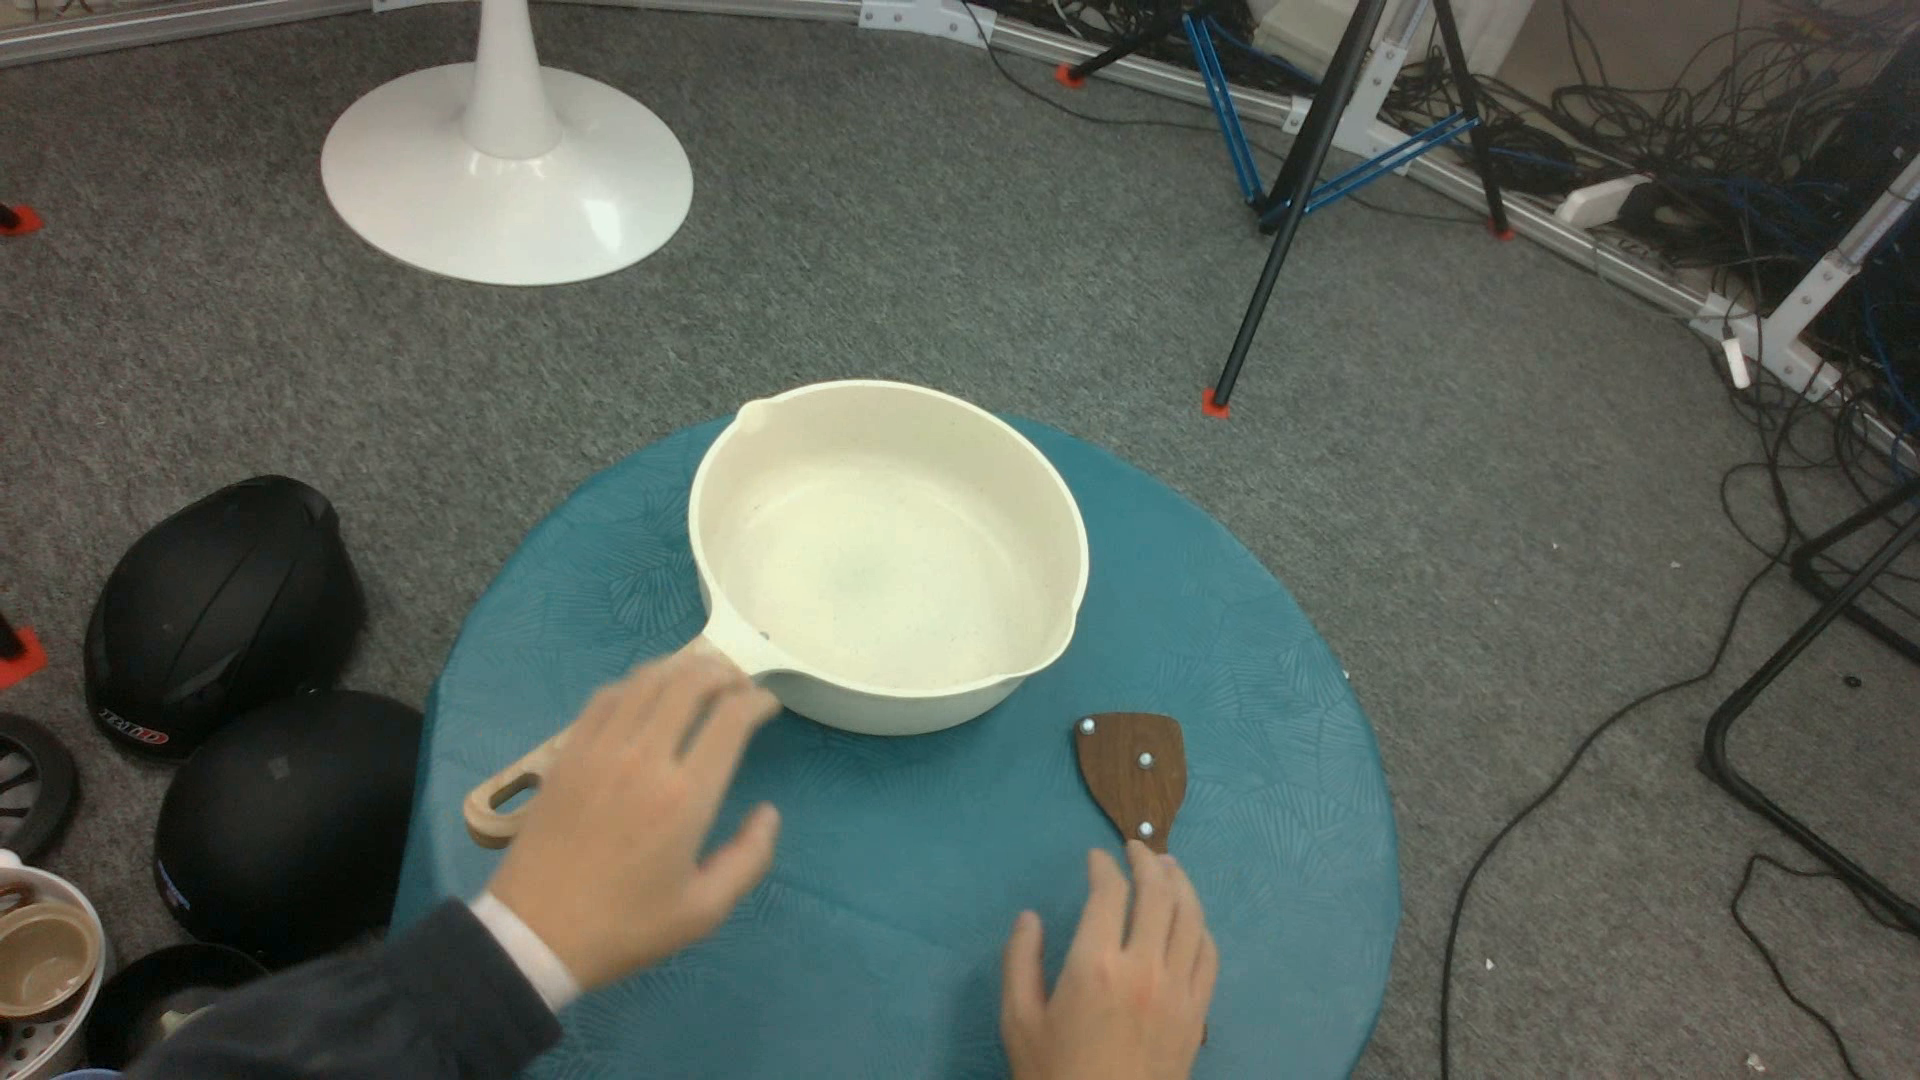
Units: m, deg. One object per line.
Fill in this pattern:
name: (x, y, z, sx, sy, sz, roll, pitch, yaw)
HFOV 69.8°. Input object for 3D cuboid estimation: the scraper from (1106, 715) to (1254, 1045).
scraper: (0.141, 0.200, 0.836, 0.076, 0.011, 0.212, 0, 51, -10)

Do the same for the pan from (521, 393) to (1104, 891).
pan: (-0.091, 0.069, 0.837, 0.263, 0.101, 0.437, 36, 53, 16)
